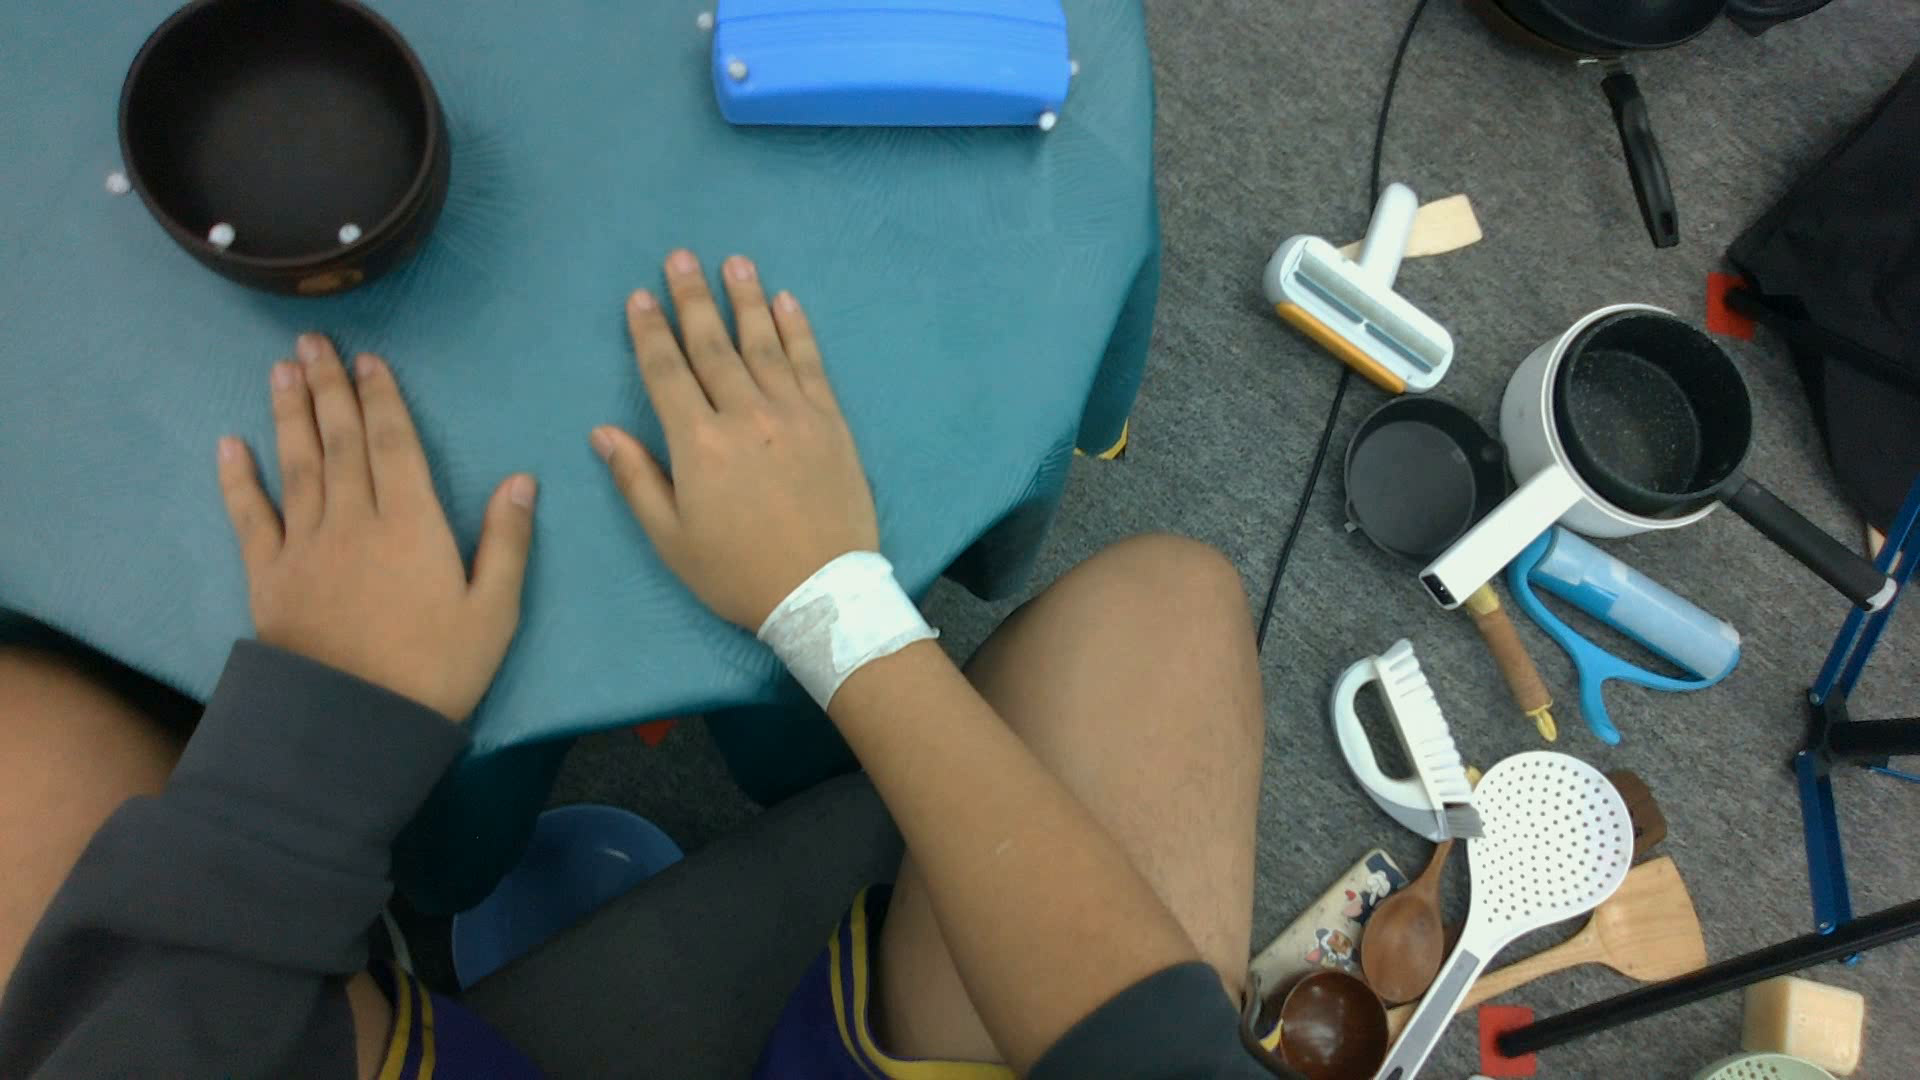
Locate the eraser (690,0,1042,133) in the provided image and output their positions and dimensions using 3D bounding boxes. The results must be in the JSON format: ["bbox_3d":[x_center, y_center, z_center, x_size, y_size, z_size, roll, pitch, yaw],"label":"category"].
[{"bbox_3d":[-0.041,-0.221,0.632,0.162,0.047,0.054,-5,80,-12],"label":"eraser"}]

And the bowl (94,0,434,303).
[{"bbox_3d":[-0.273,-0.151,0.557,0.118,0.069,0.118,2,80,-12],"label":"bowl"}]
